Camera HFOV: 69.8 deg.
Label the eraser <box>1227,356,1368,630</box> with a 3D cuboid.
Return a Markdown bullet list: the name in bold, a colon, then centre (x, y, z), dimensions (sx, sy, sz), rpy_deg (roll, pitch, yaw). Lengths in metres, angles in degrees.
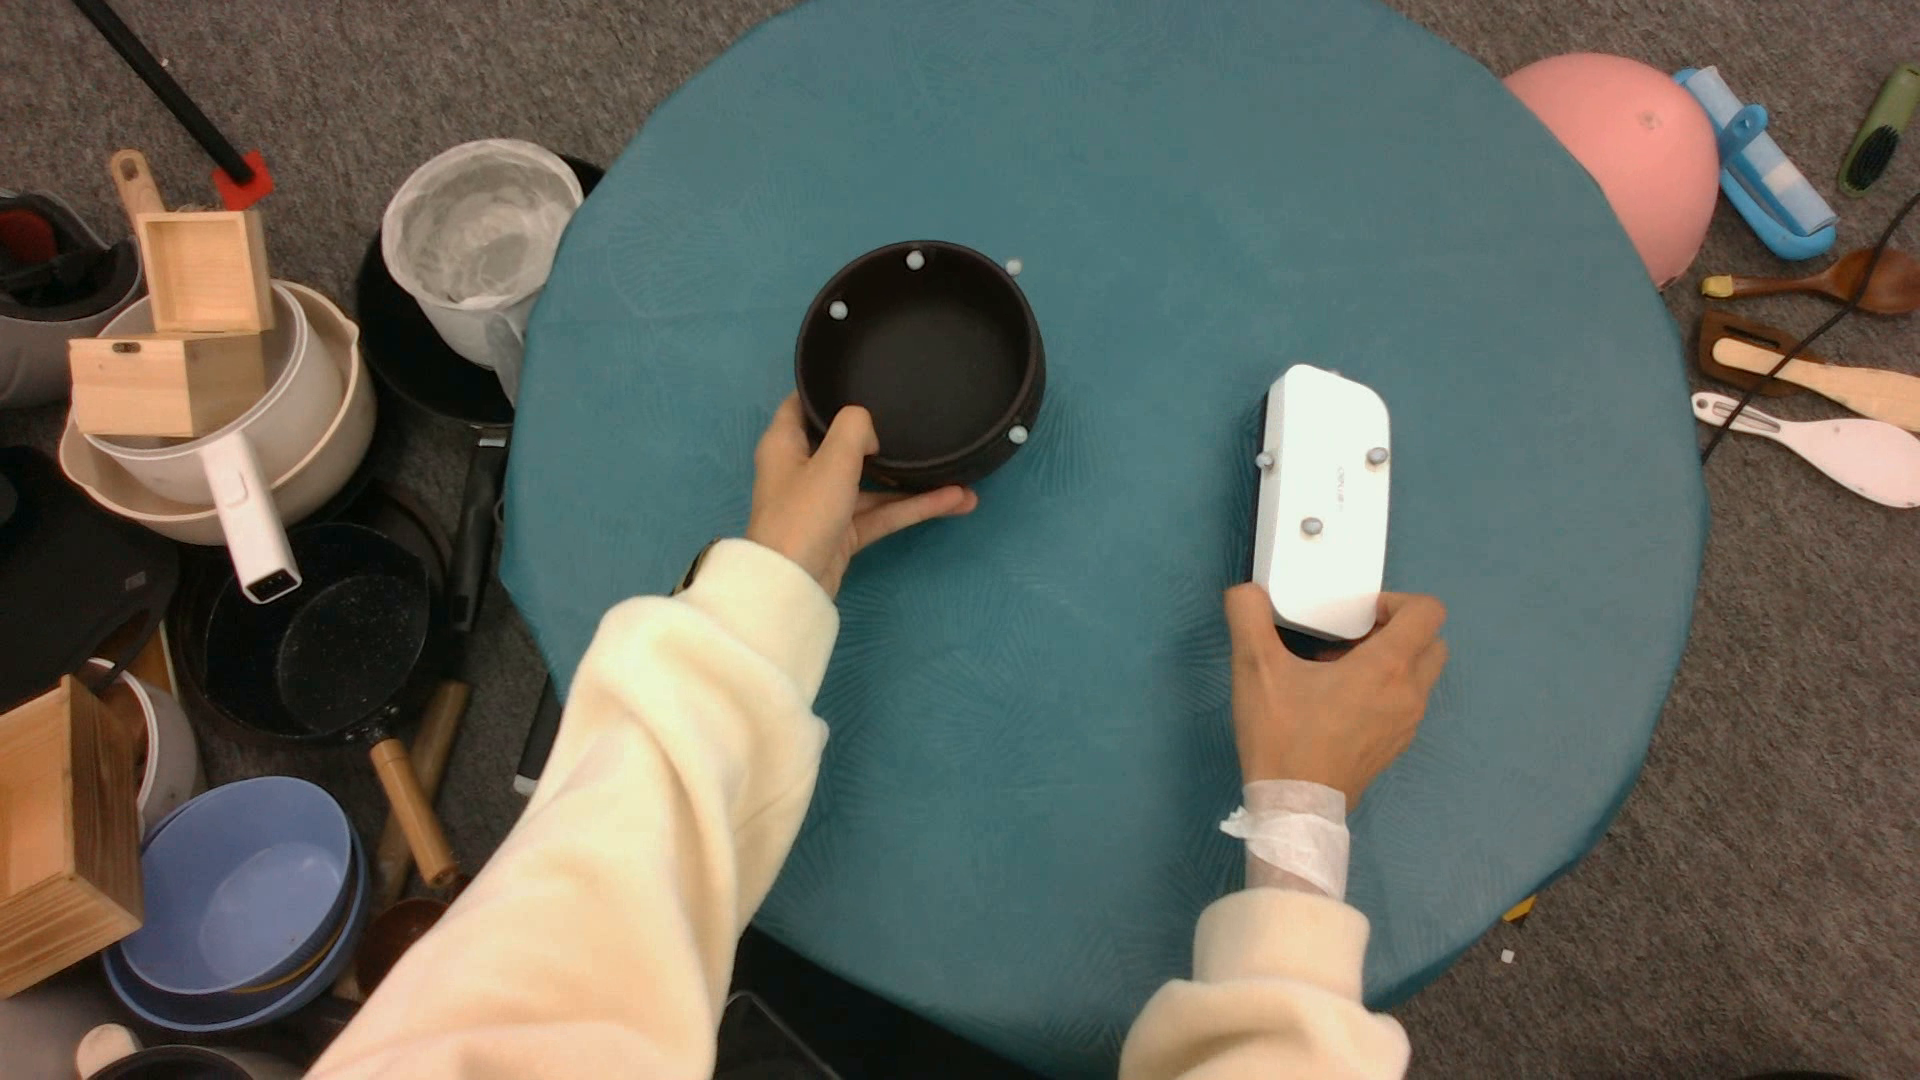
- **eraser**: centre (0.161, -0.023, 0.658), dimensions (0.063, 0.034, 0.132), rpy_deg (17, 67, -20)

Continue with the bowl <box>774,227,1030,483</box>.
- **bowl**: centre (-0.023, -0.082, 0.657), dimensions (0.118, 0.070, 0.118), rpy_deg (-3, 73, 11)
